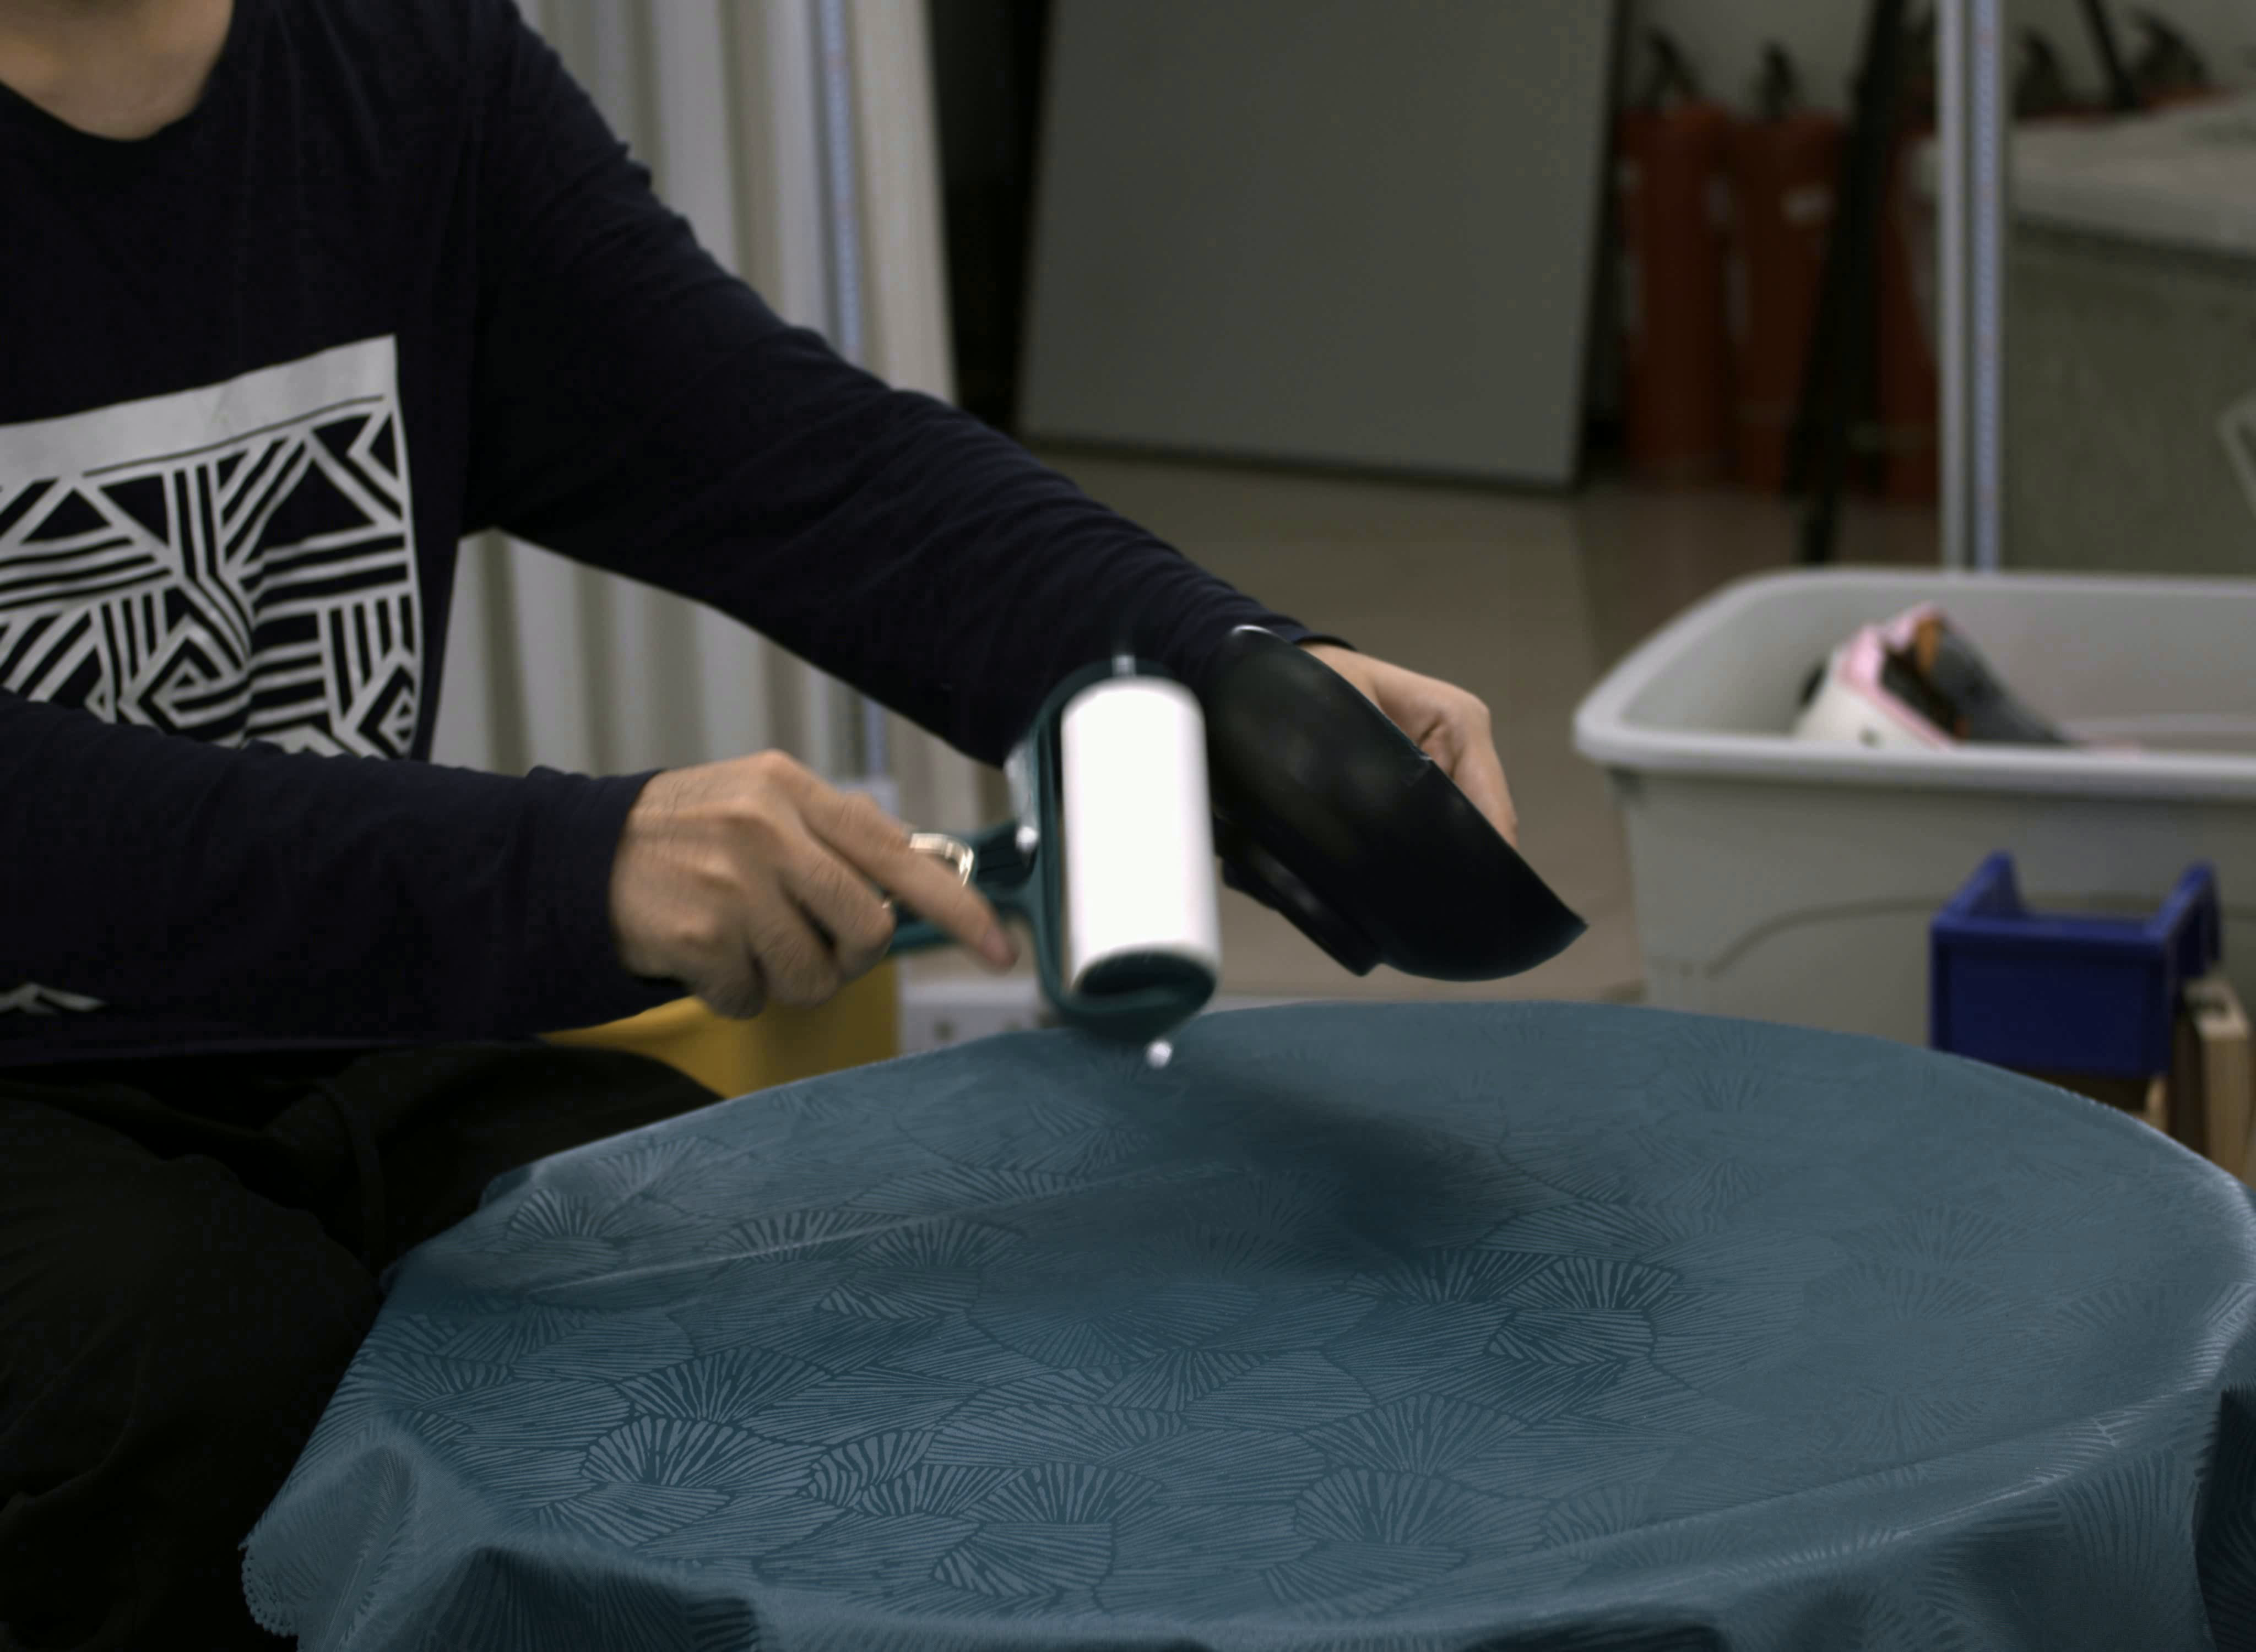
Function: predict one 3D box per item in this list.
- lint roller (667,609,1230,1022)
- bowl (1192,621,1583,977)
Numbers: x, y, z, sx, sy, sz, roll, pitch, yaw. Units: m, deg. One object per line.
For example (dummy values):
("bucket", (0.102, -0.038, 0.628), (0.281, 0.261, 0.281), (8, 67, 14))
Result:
("lint roller", (-0.061, 0.007, 1.692), (0.178, 0.048, 0.136), (-8, 56, 4))
("bowl", (0.068, 0.002, 1.725), (0.067, 0.136, 0.172), (-48, 38, -4))
